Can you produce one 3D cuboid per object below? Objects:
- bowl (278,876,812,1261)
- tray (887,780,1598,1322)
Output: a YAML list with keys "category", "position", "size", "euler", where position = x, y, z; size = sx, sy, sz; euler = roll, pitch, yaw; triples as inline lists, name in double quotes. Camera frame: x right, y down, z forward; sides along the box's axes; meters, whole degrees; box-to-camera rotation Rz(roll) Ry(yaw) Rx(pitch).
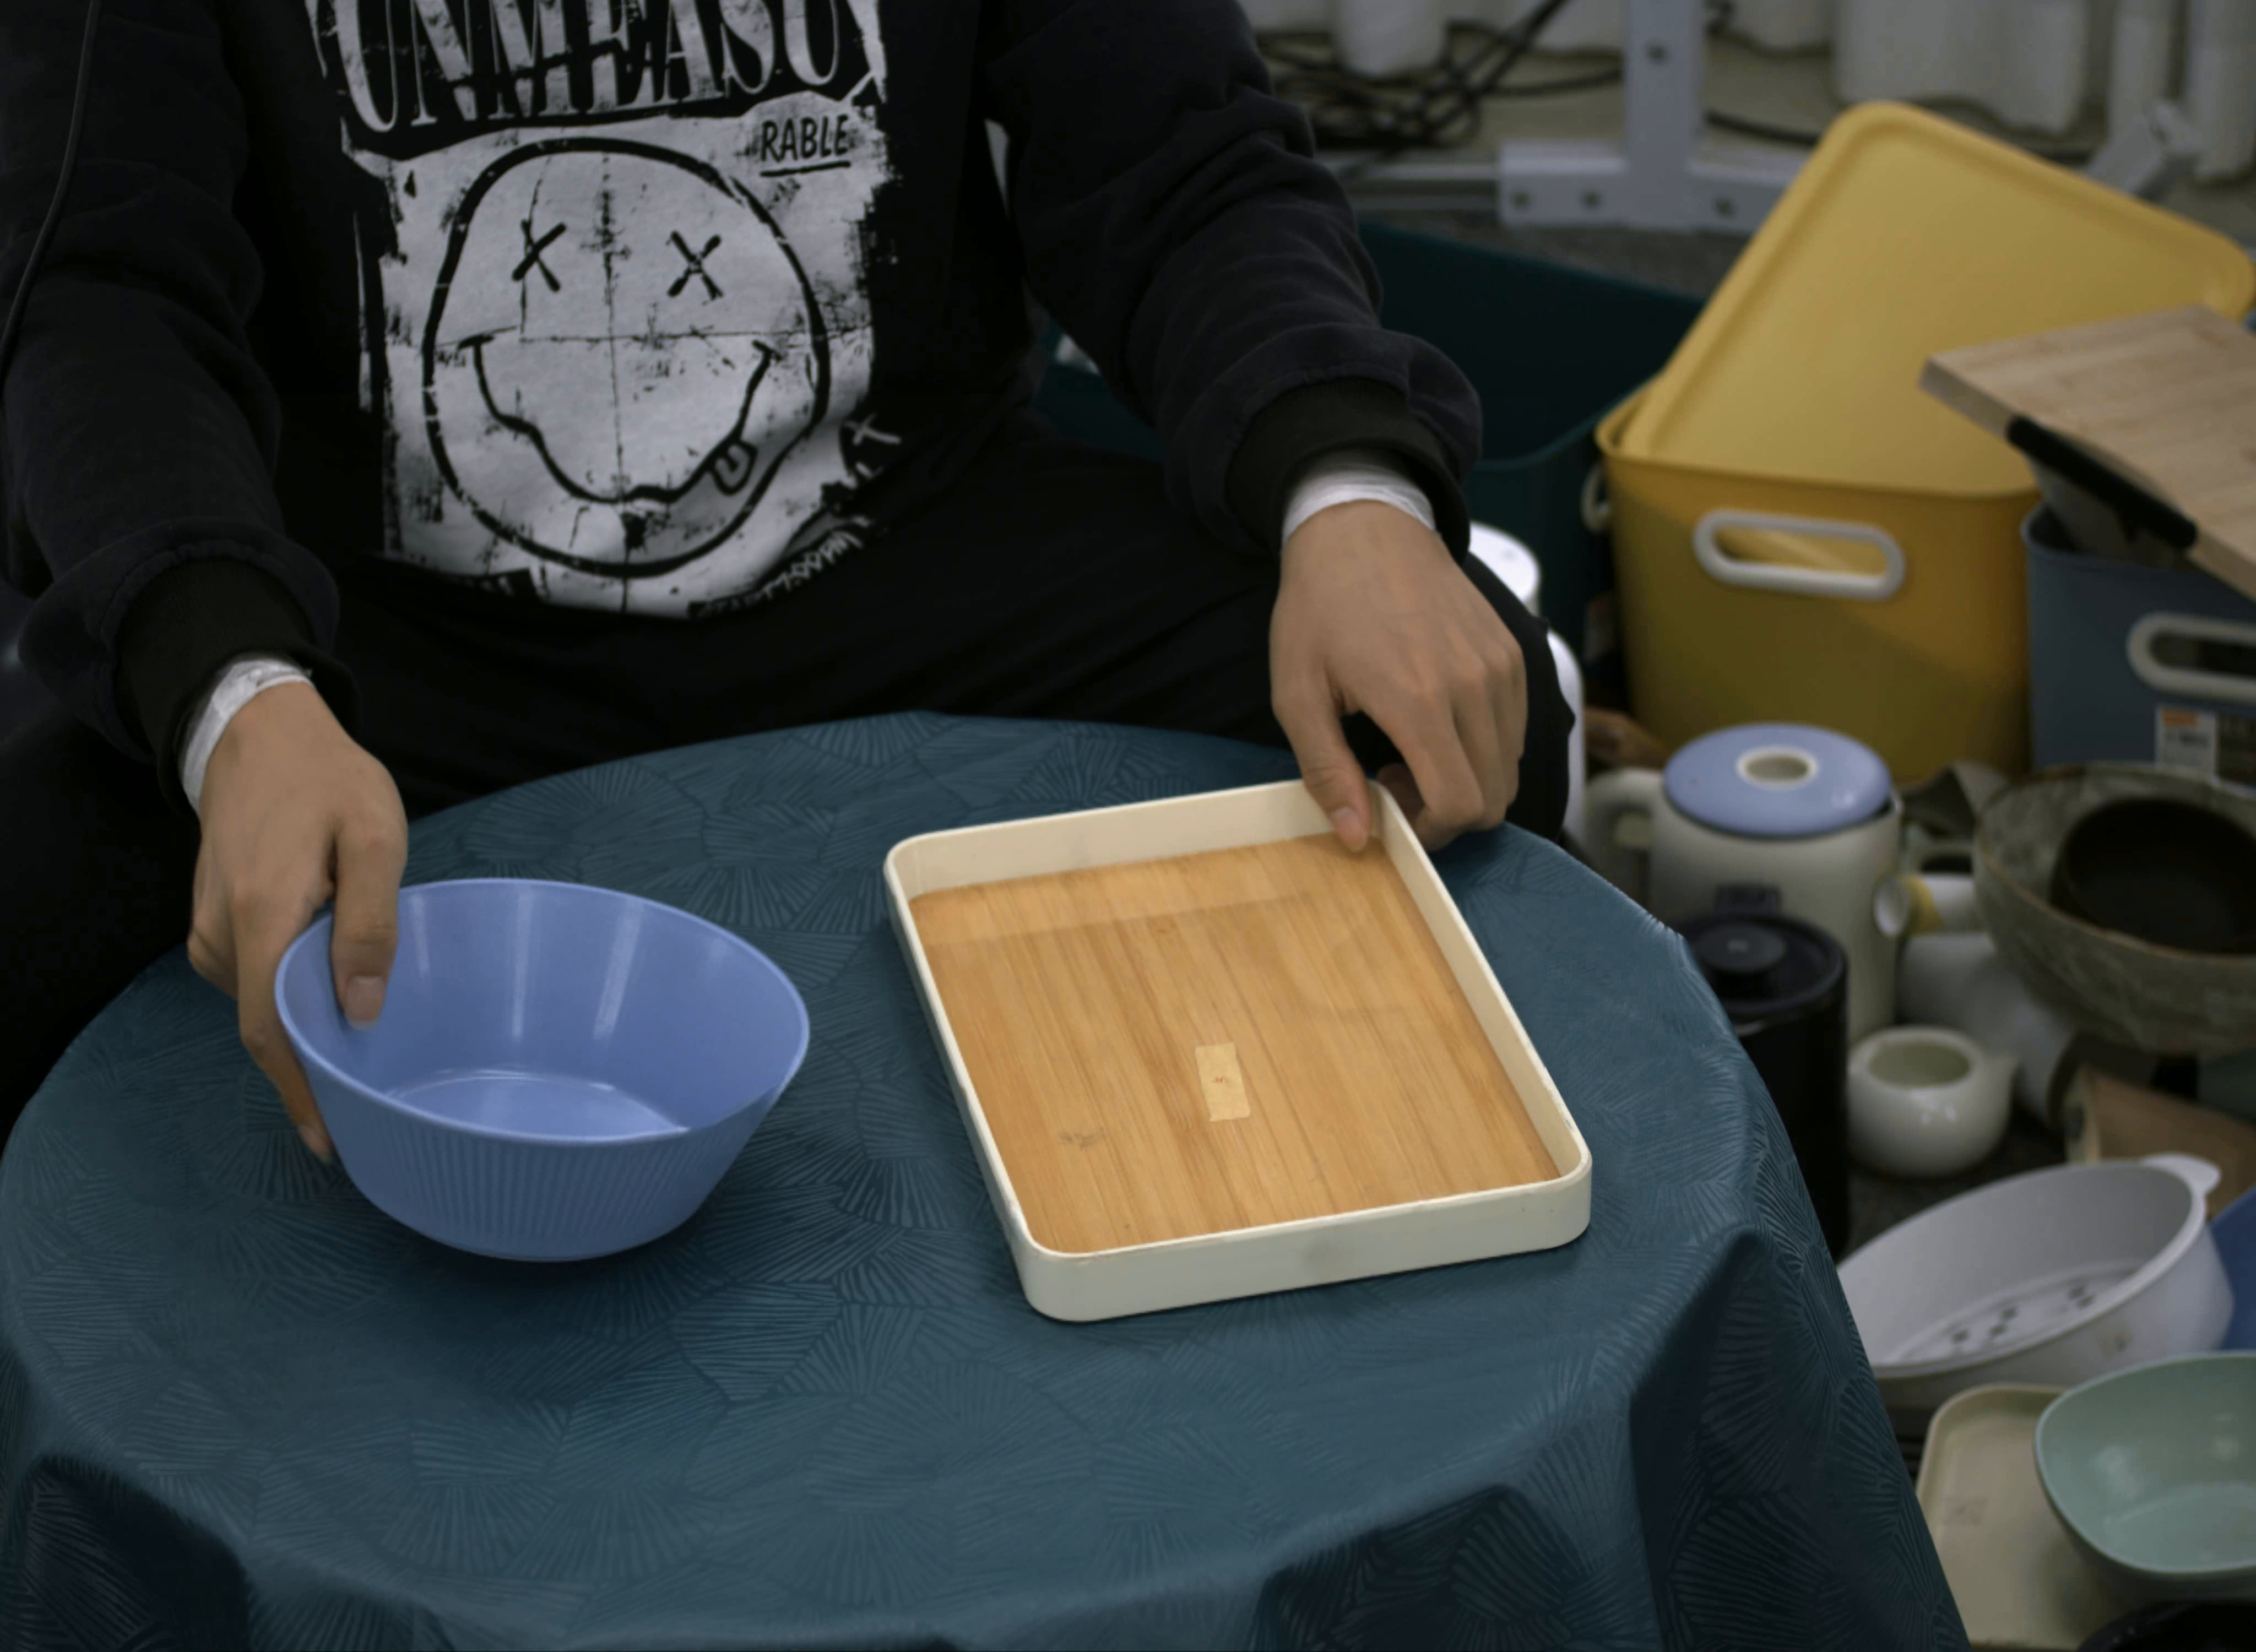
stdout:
- category: "bowl"
  position: [-0.194, 0.086, 1.854]
  size: [0.175, 0.069, 0.179]
  euler: [7, 27, -3]
- category: "tray"
  position: [0.033, 0.071, 1.927]
  size: [0.191, 0.027, 0.304]
  euler: [-8, 28, -9]
